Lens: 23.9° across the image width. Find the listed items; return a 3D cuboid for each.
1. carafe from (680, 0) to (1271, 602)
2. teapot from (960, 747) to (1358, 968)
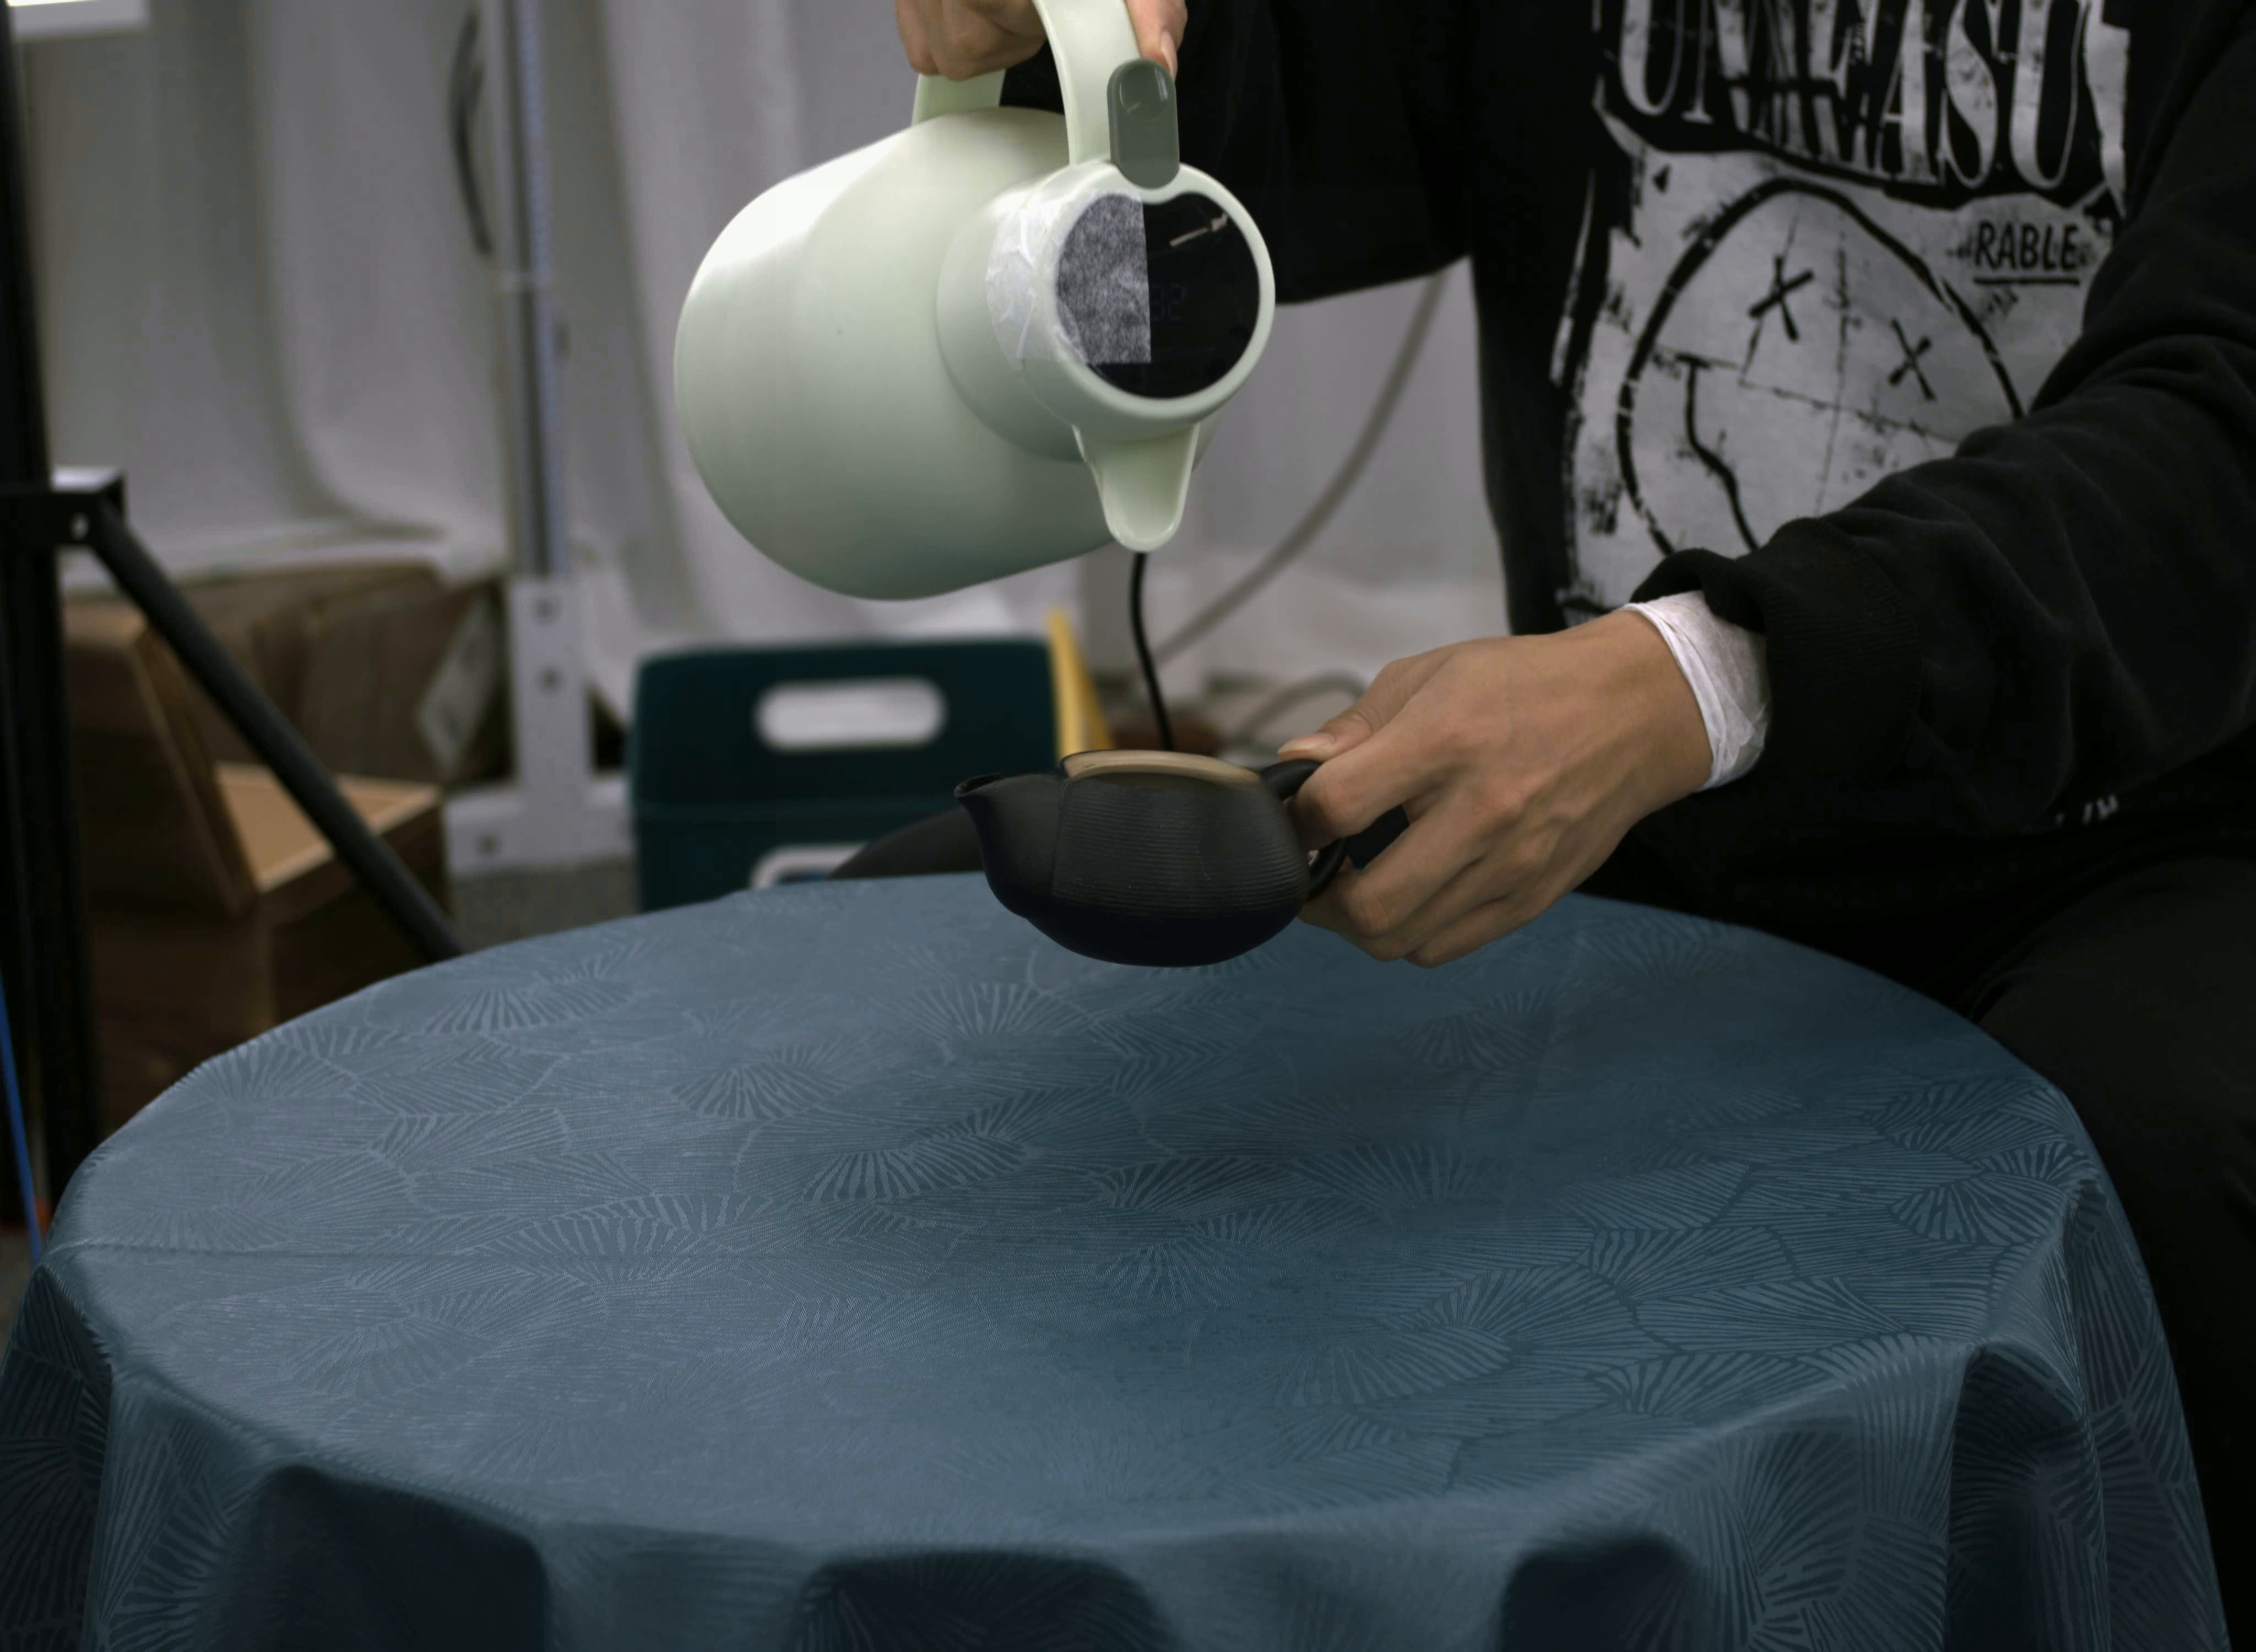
[{"bbox_3d":[-0.039,-0.166,1.636,0.141,0.188,0.260,-4,-5,-20],"label":"carafe"},{"bbox_3d":[0.009,0.009,1.535,0.130,0.053,0.093,-4,16,-28],"label":"teapot"}]
